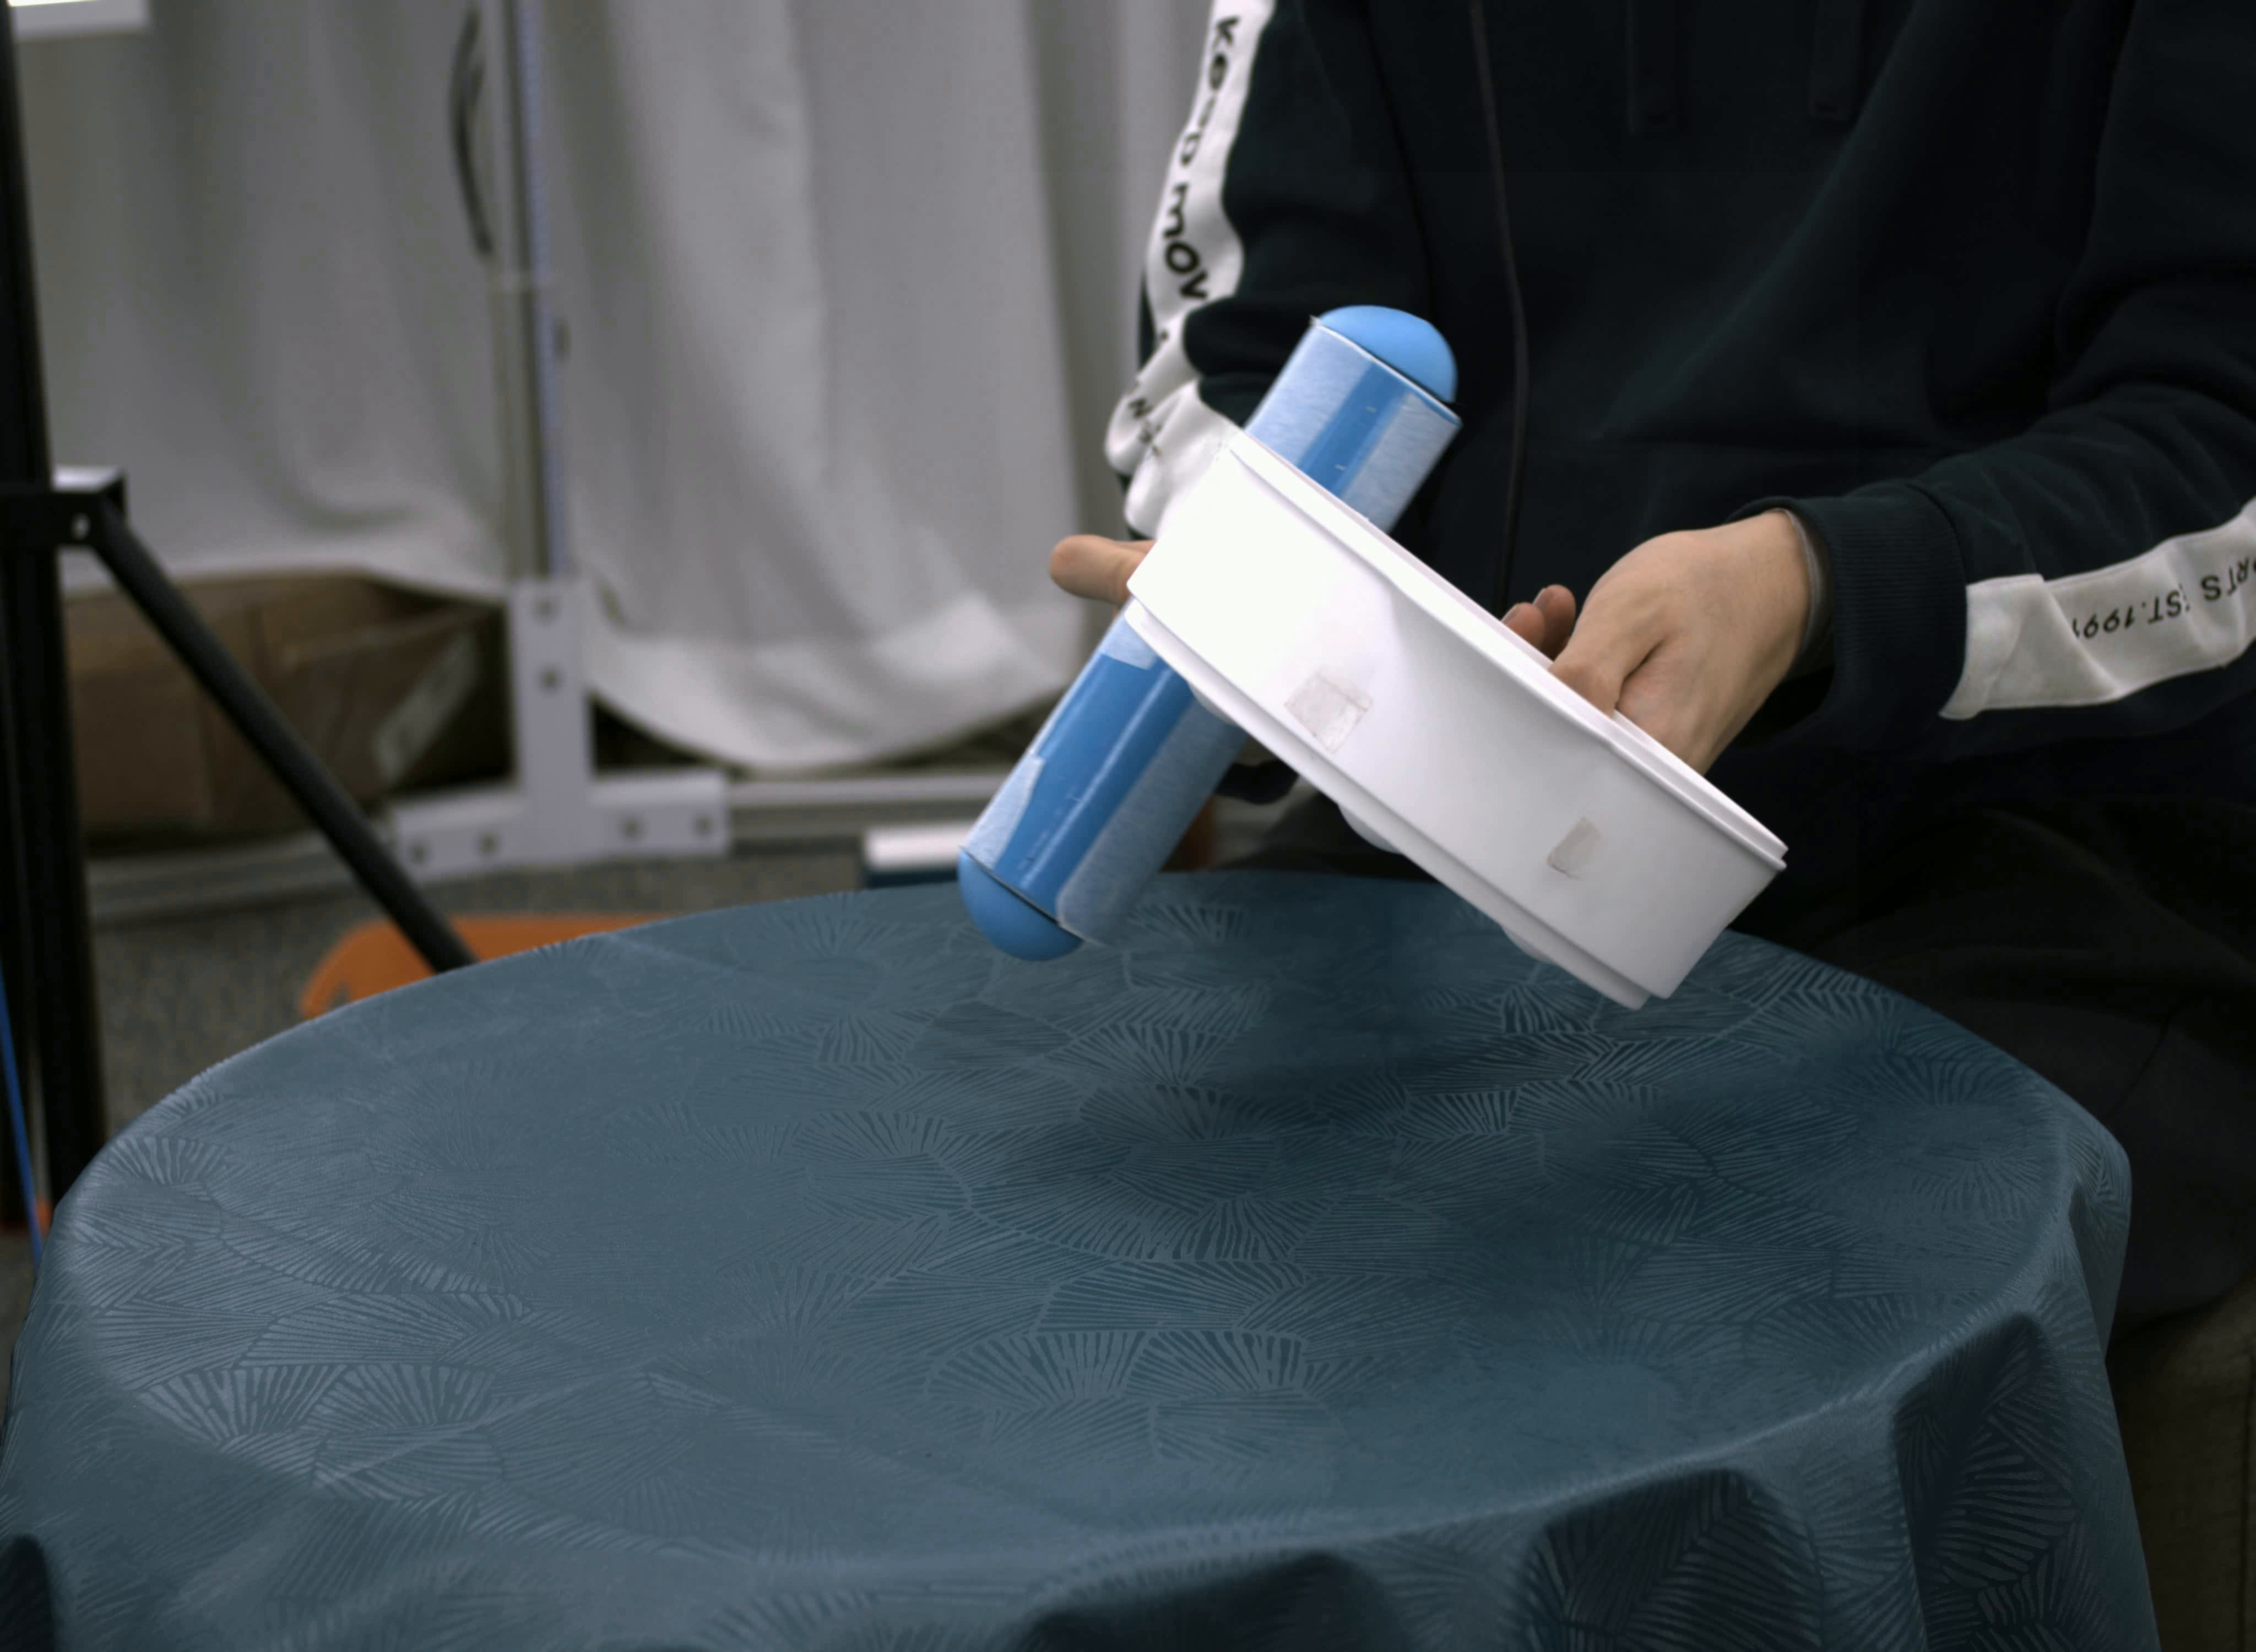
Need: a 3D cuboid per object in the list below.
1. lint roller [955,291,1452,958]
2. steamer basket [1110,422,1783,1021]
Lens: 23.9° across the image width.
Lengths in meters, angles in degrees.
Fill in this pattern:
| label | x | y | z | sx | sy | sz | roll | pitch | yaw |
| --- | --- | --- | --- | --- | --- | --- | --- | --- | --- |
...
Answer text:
| label | x | y | z | sx | sy | sz | roll | pitch | yaw |
| --- | --- | --- | --- | --- | --- | --- | --- | --- | --- |
| lint roller | 0.032 | -0.052 | 1.657 | 0.068 | 0.229 | 0.178 | 32 | -2 | 12 |
| steamer basket | 0.088 | -0.026 | 1.494 | 0.202 | 0.069 | 0.230 | 39 | 3 | 2 |
